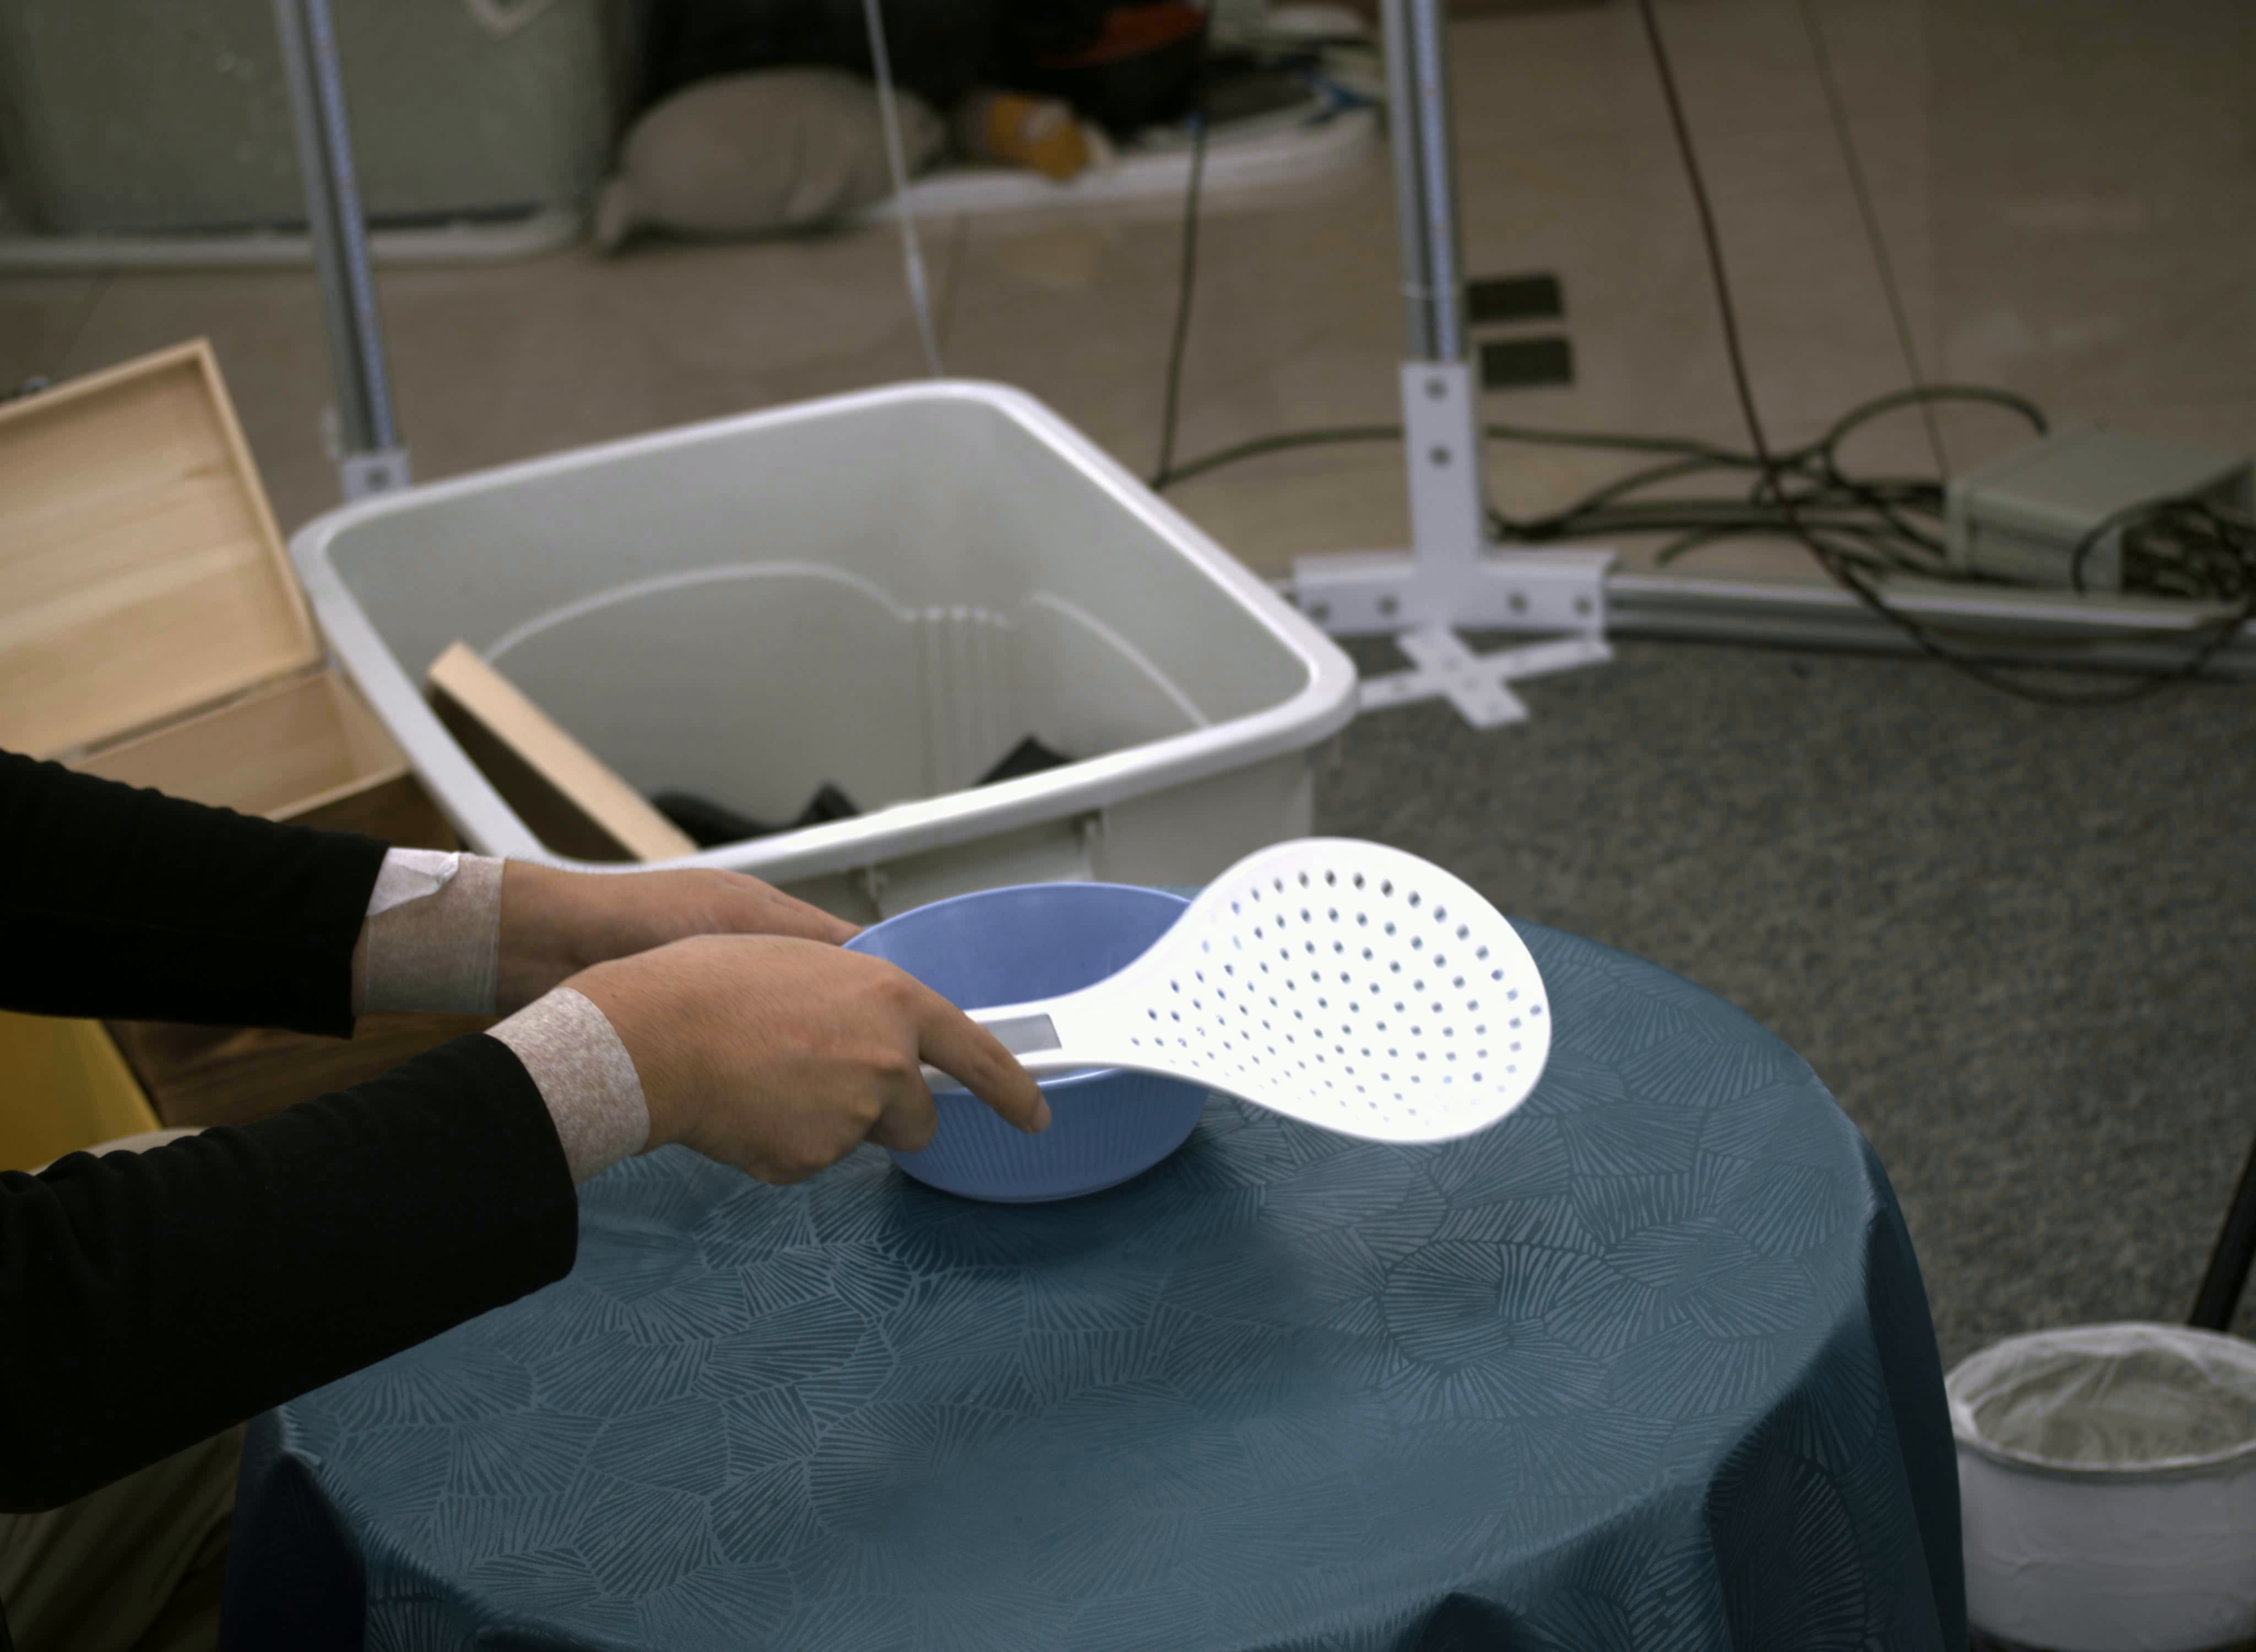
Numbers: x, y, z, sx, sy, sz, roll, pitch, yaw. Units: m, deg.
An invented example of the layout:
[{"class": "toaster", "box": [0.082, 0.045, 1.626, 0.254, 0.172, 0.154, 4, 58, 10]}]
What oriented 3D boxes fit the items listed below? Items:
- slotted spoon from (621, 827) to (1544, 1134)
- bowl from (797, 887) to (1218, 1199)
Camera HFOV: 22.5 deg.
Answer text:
[{"class": "slotted spoon", "box": [-0.013, 0.072, 2.009, 0.349, 0.046, 0.134, -5, 56, -28]}, {"class": "bowl", "box": [-0.037, 0.089, 2.179, 0.176, 0.071, 0.173, -6, 24, 3]}]
